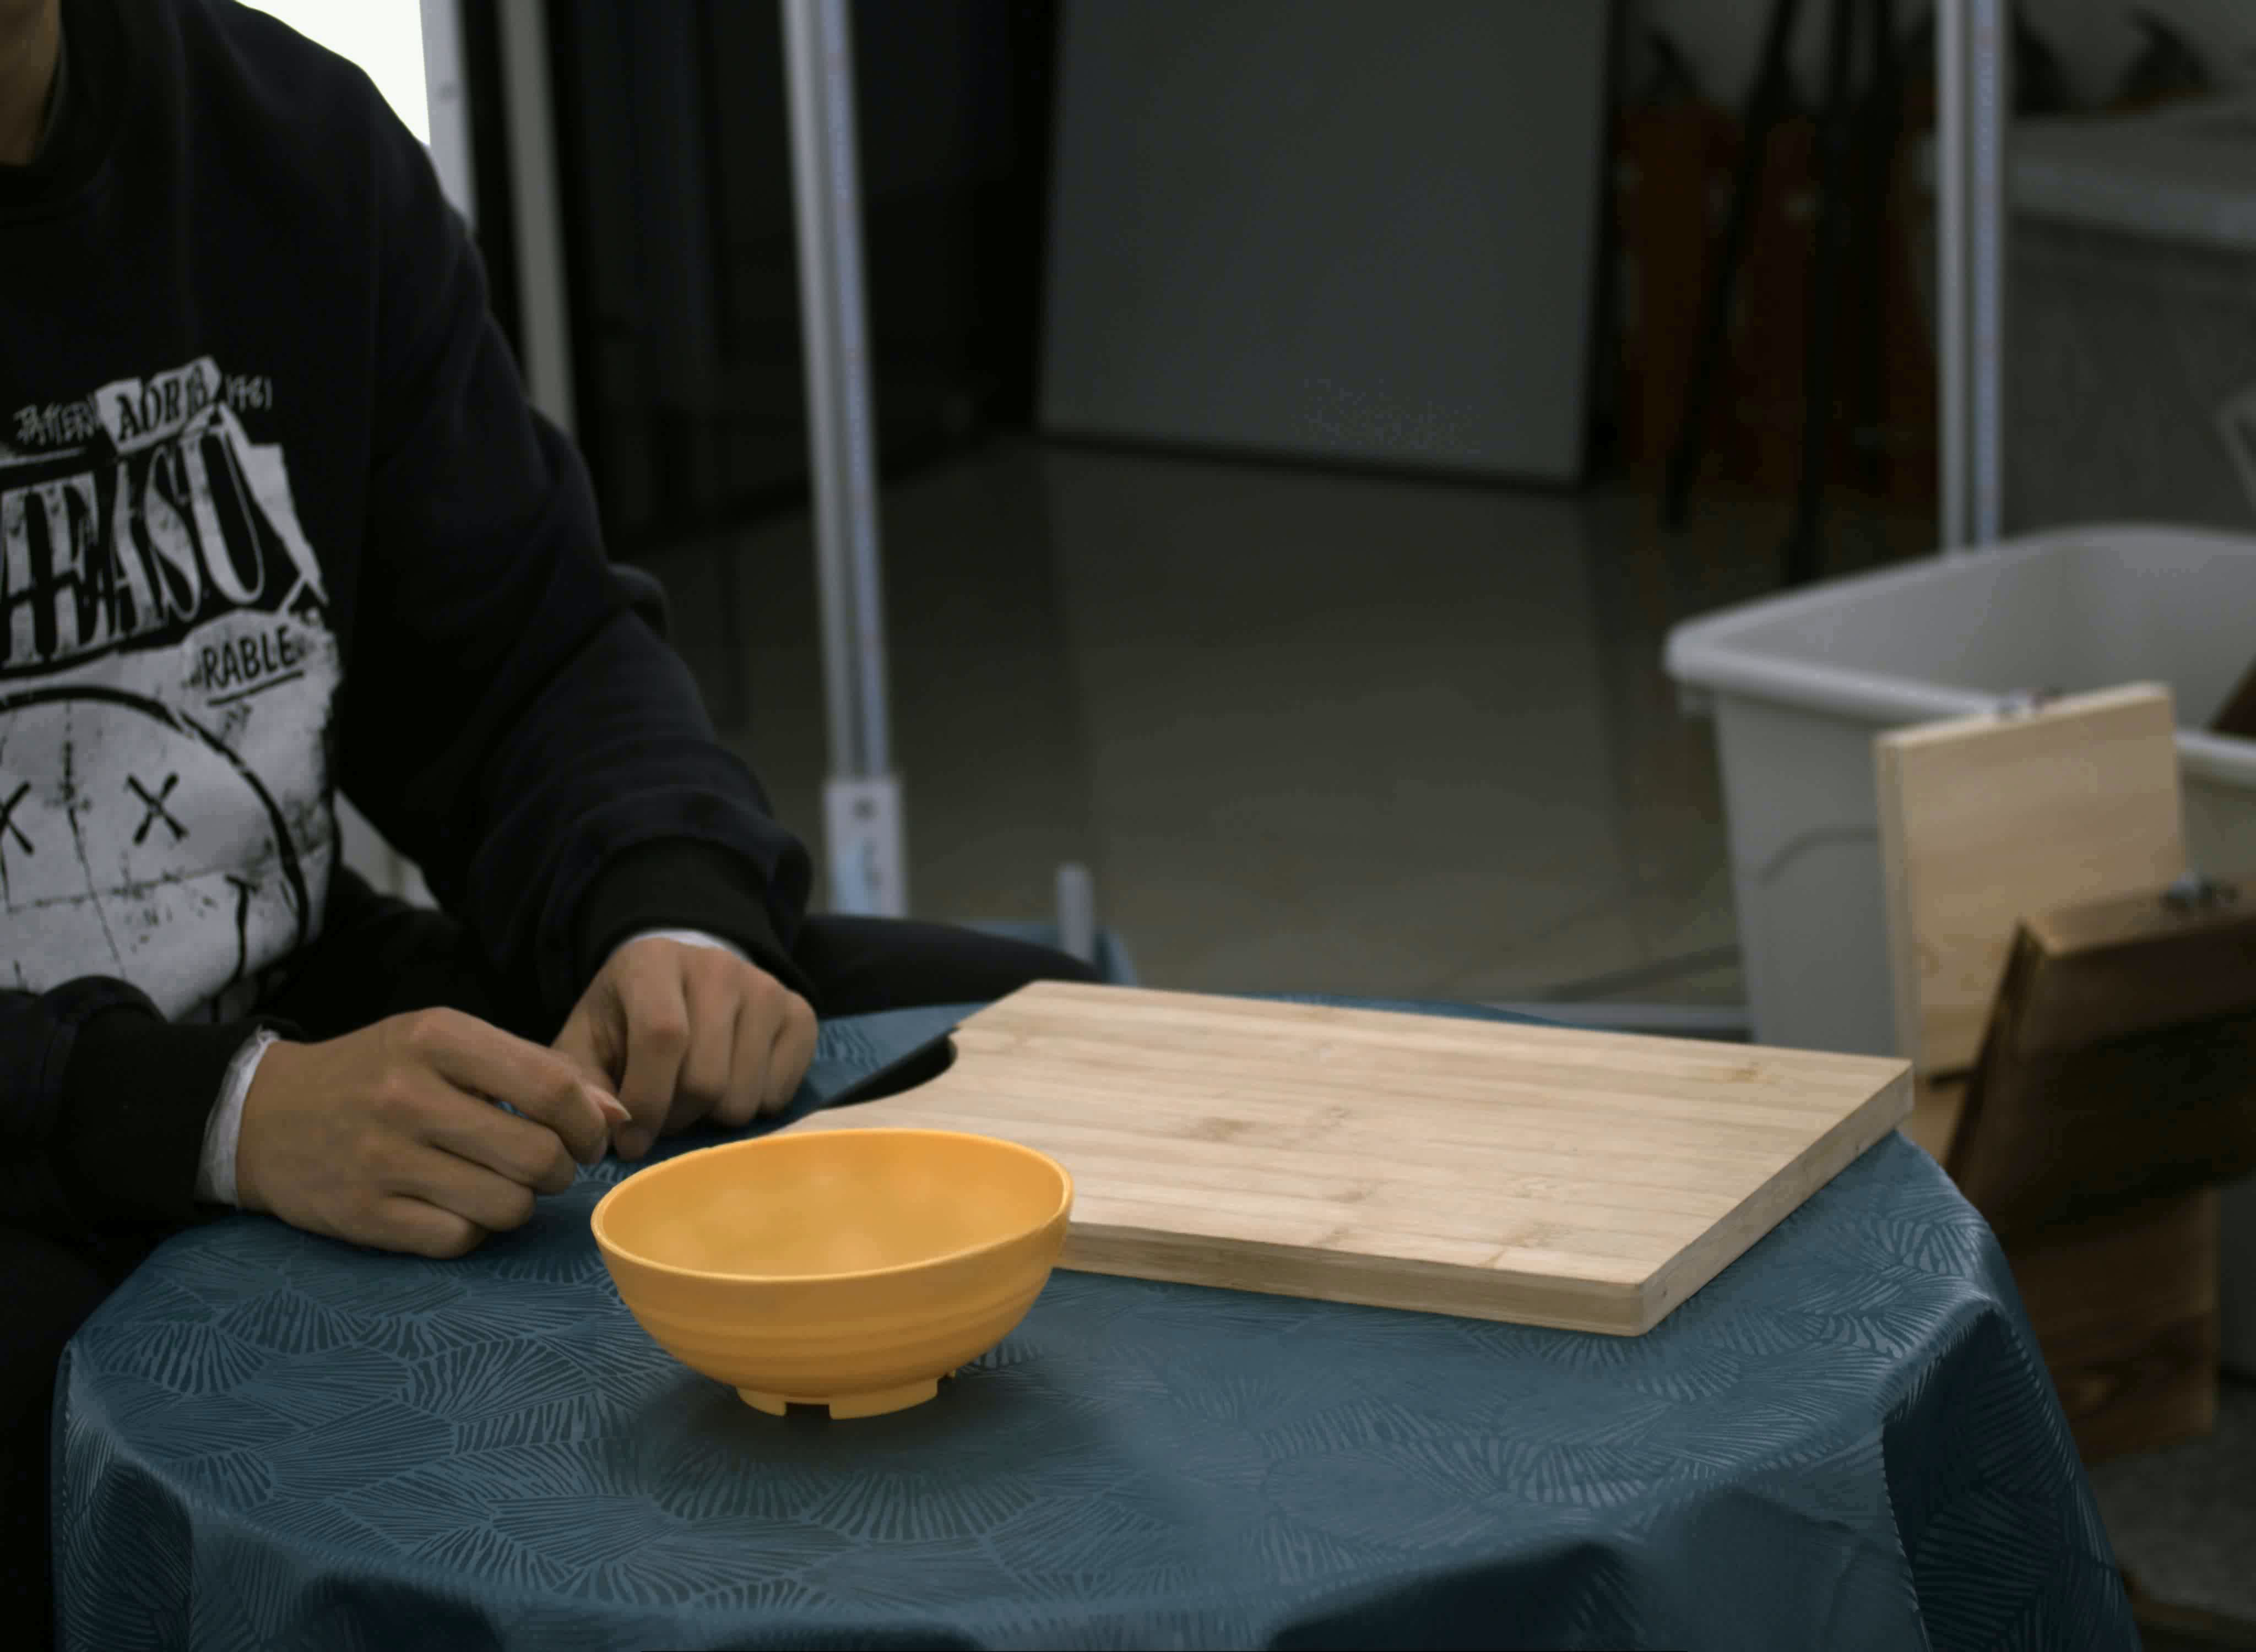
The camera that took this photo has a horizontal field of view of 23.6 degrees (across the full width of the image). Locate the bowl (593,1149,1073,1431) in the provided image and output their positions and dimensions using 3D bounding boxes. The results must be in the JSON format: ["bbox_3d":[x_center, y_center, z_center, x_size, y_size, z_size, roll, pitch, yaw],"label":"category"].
[{"bbox_3d":[-0.085,0.141,1.601,0.143,0.061,0.145,-4,11,0],"label":"bowl"}]

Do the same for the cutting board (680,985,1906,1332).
[{"bbox_3d":[0.056,0.106,1.785,0.349,0.024,0.247,3,15,28],"label":"cutting board"}]
